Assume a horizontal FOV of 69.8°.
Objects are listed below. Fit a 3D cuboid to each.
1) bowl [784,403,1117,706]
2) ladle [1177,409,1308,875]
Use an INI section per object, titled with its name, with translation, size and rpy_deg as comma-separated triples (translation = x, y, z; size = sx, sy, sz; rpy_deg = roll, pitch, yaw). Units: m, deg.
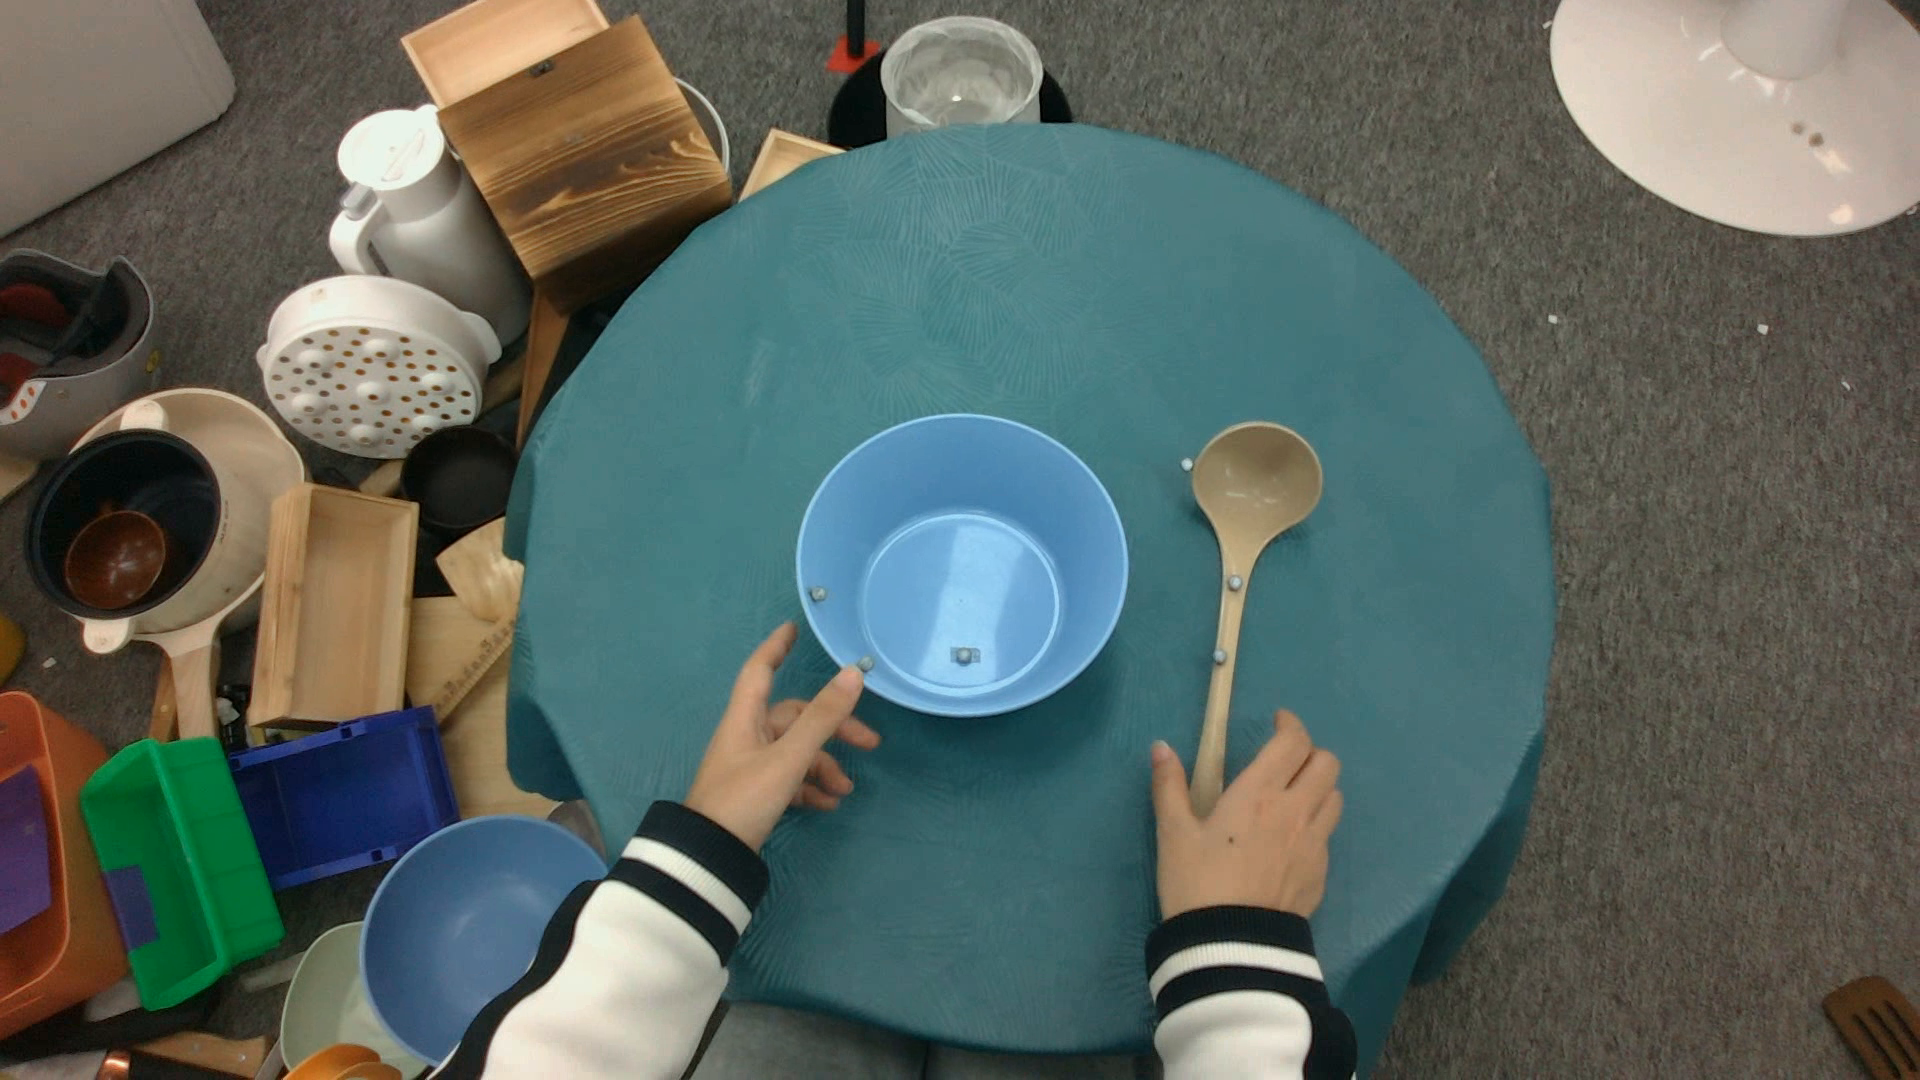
[bowl]
translation = -0.005, 0.017, 0.753
size = 0.176, 0.070, 0.176
rpy_deg = 0, 64, -1
[ladle]
translation = 0.143, 0.047, 0.741
size = 0.072, 0.072, 0.255
rpy_deg = 9, 64, 4
